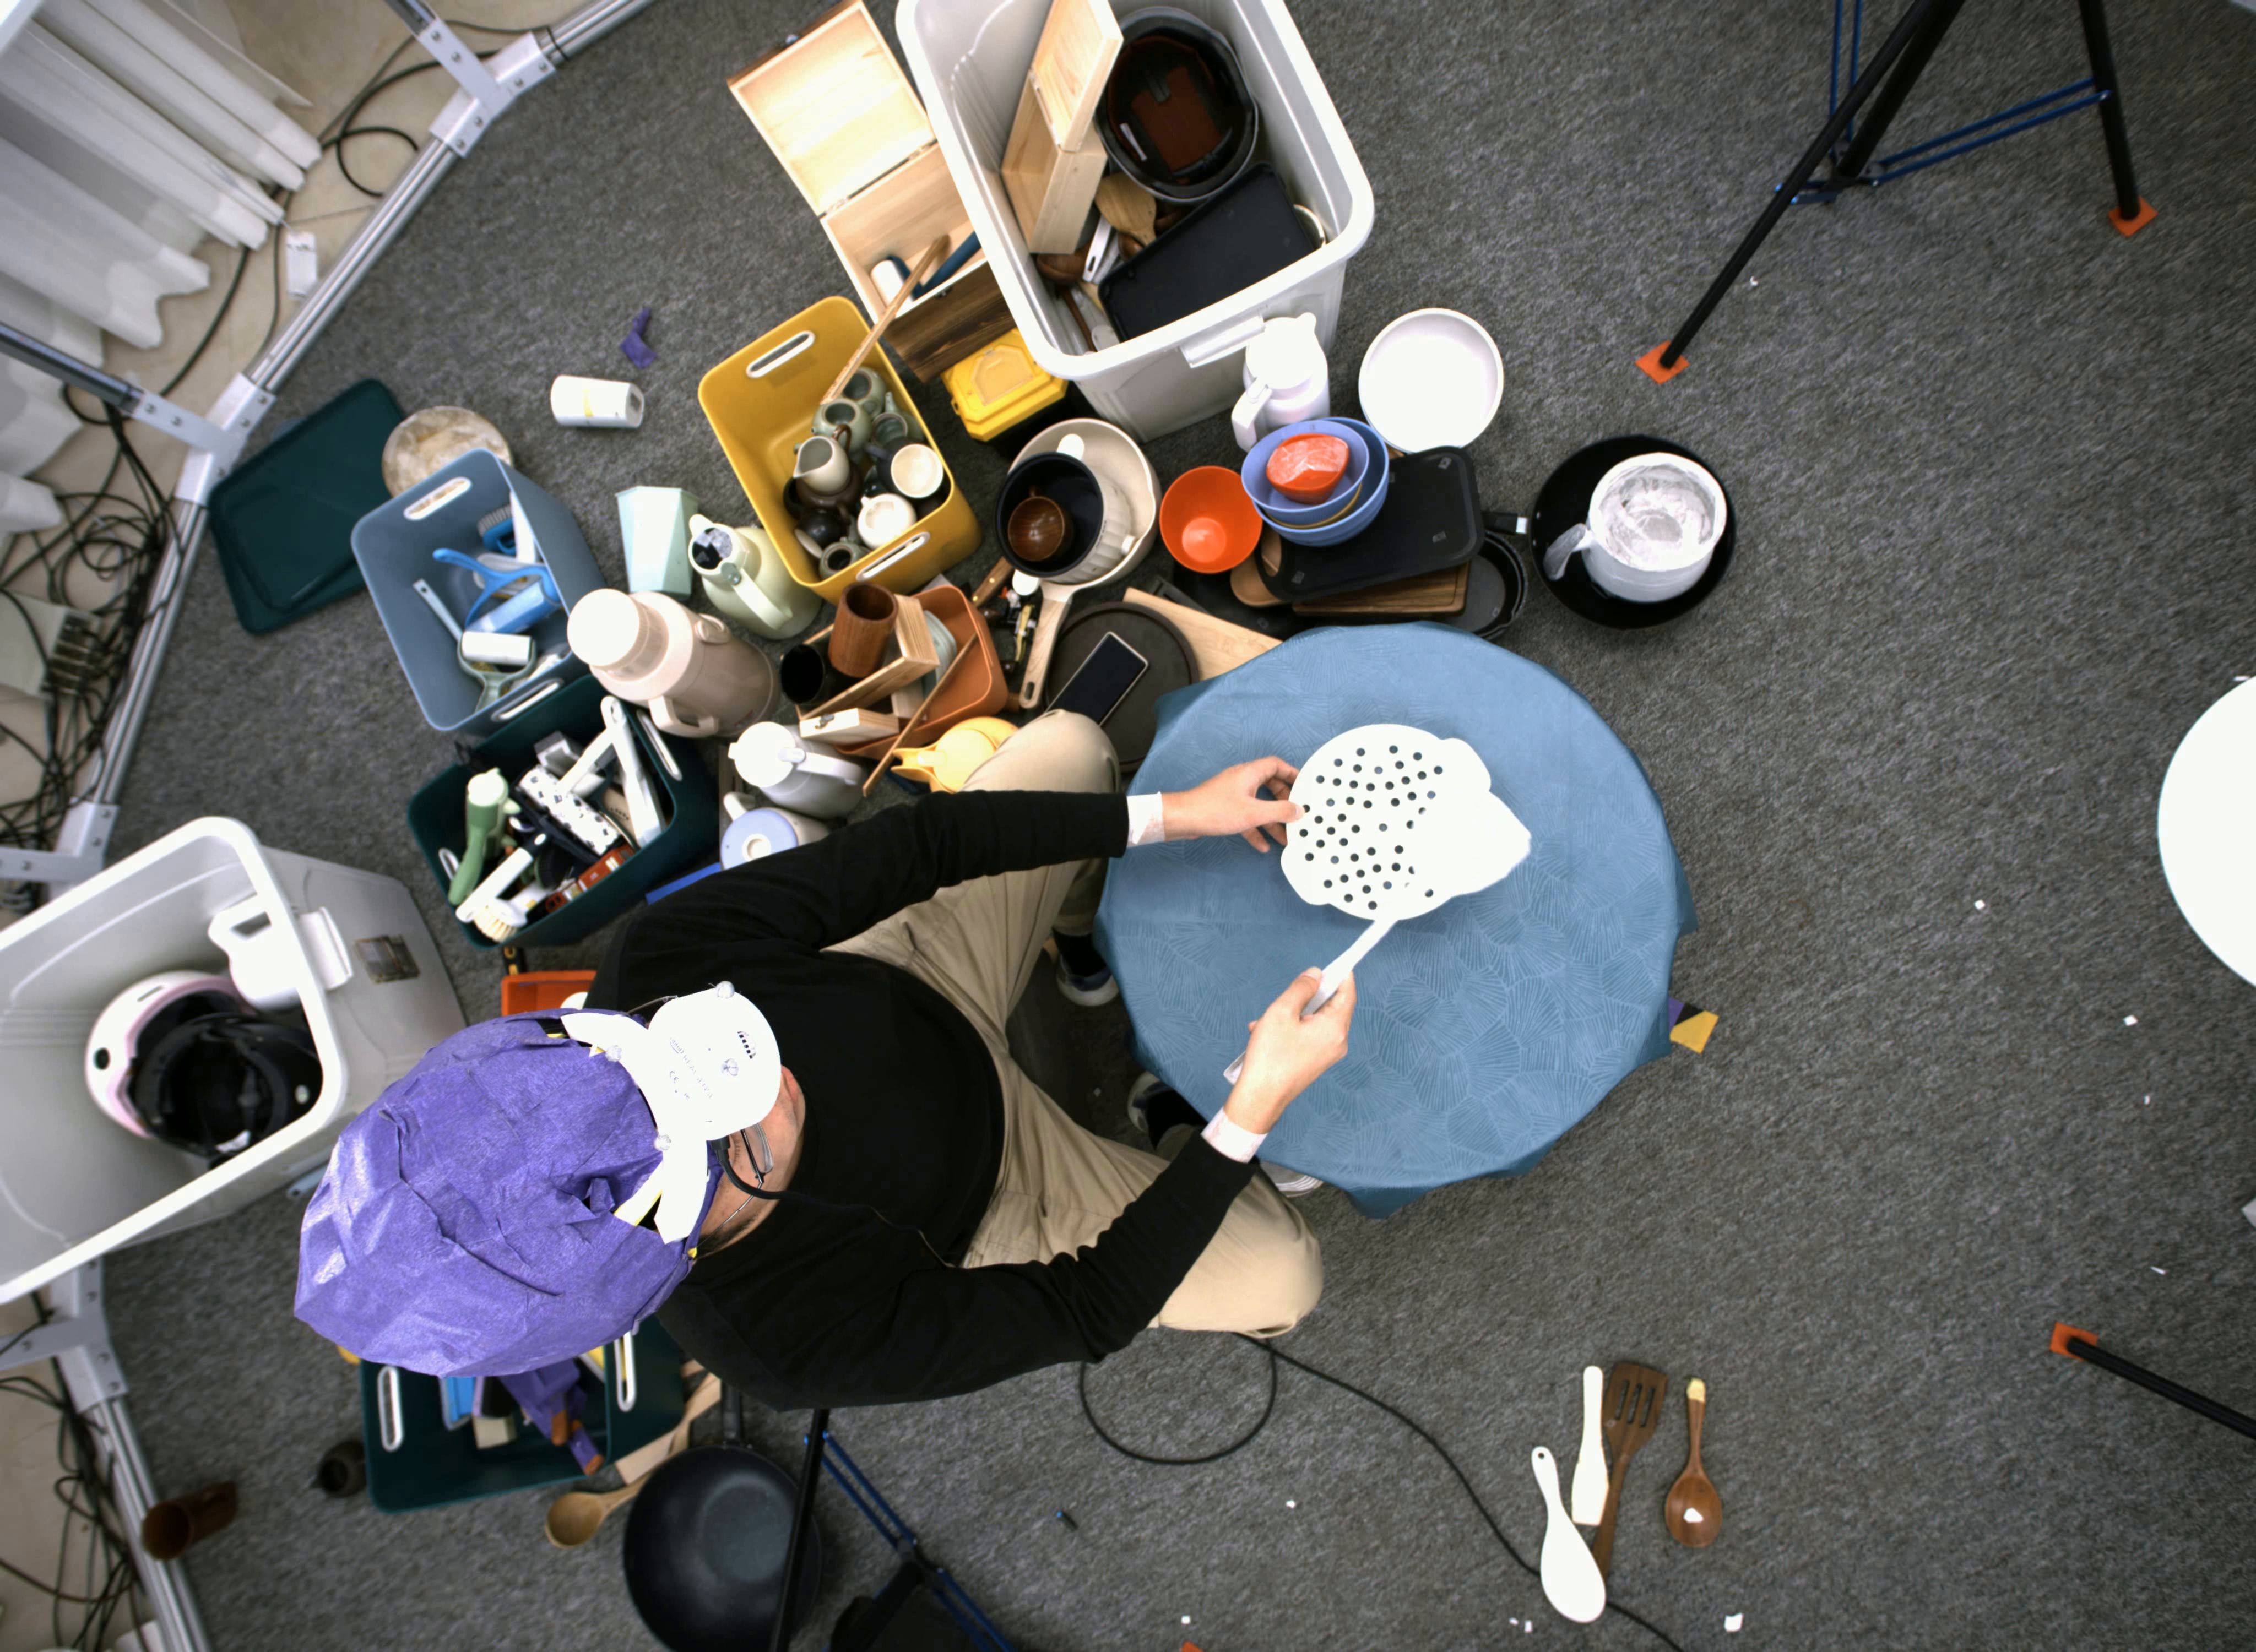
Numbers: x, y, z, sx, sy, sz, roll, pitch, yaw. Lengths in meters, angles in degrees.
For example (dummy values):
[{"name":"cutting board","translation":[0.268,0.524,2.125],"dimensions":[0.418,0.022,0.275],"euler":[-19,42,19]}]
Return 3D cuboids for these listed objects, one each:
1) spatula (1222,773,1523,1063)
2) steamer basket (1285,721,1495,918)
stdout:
[{"name":"spatula","translation":[0.223,0.095,1.280],"dimensions":[0.360,0.045,0.098],"euler":[-43,88,-15]},{"name":"steamer basket","translation":[0.270,-0.006,1.427],"dimensions":[0.232,0.069,0.201],"euler":[-34,82,6]}]
